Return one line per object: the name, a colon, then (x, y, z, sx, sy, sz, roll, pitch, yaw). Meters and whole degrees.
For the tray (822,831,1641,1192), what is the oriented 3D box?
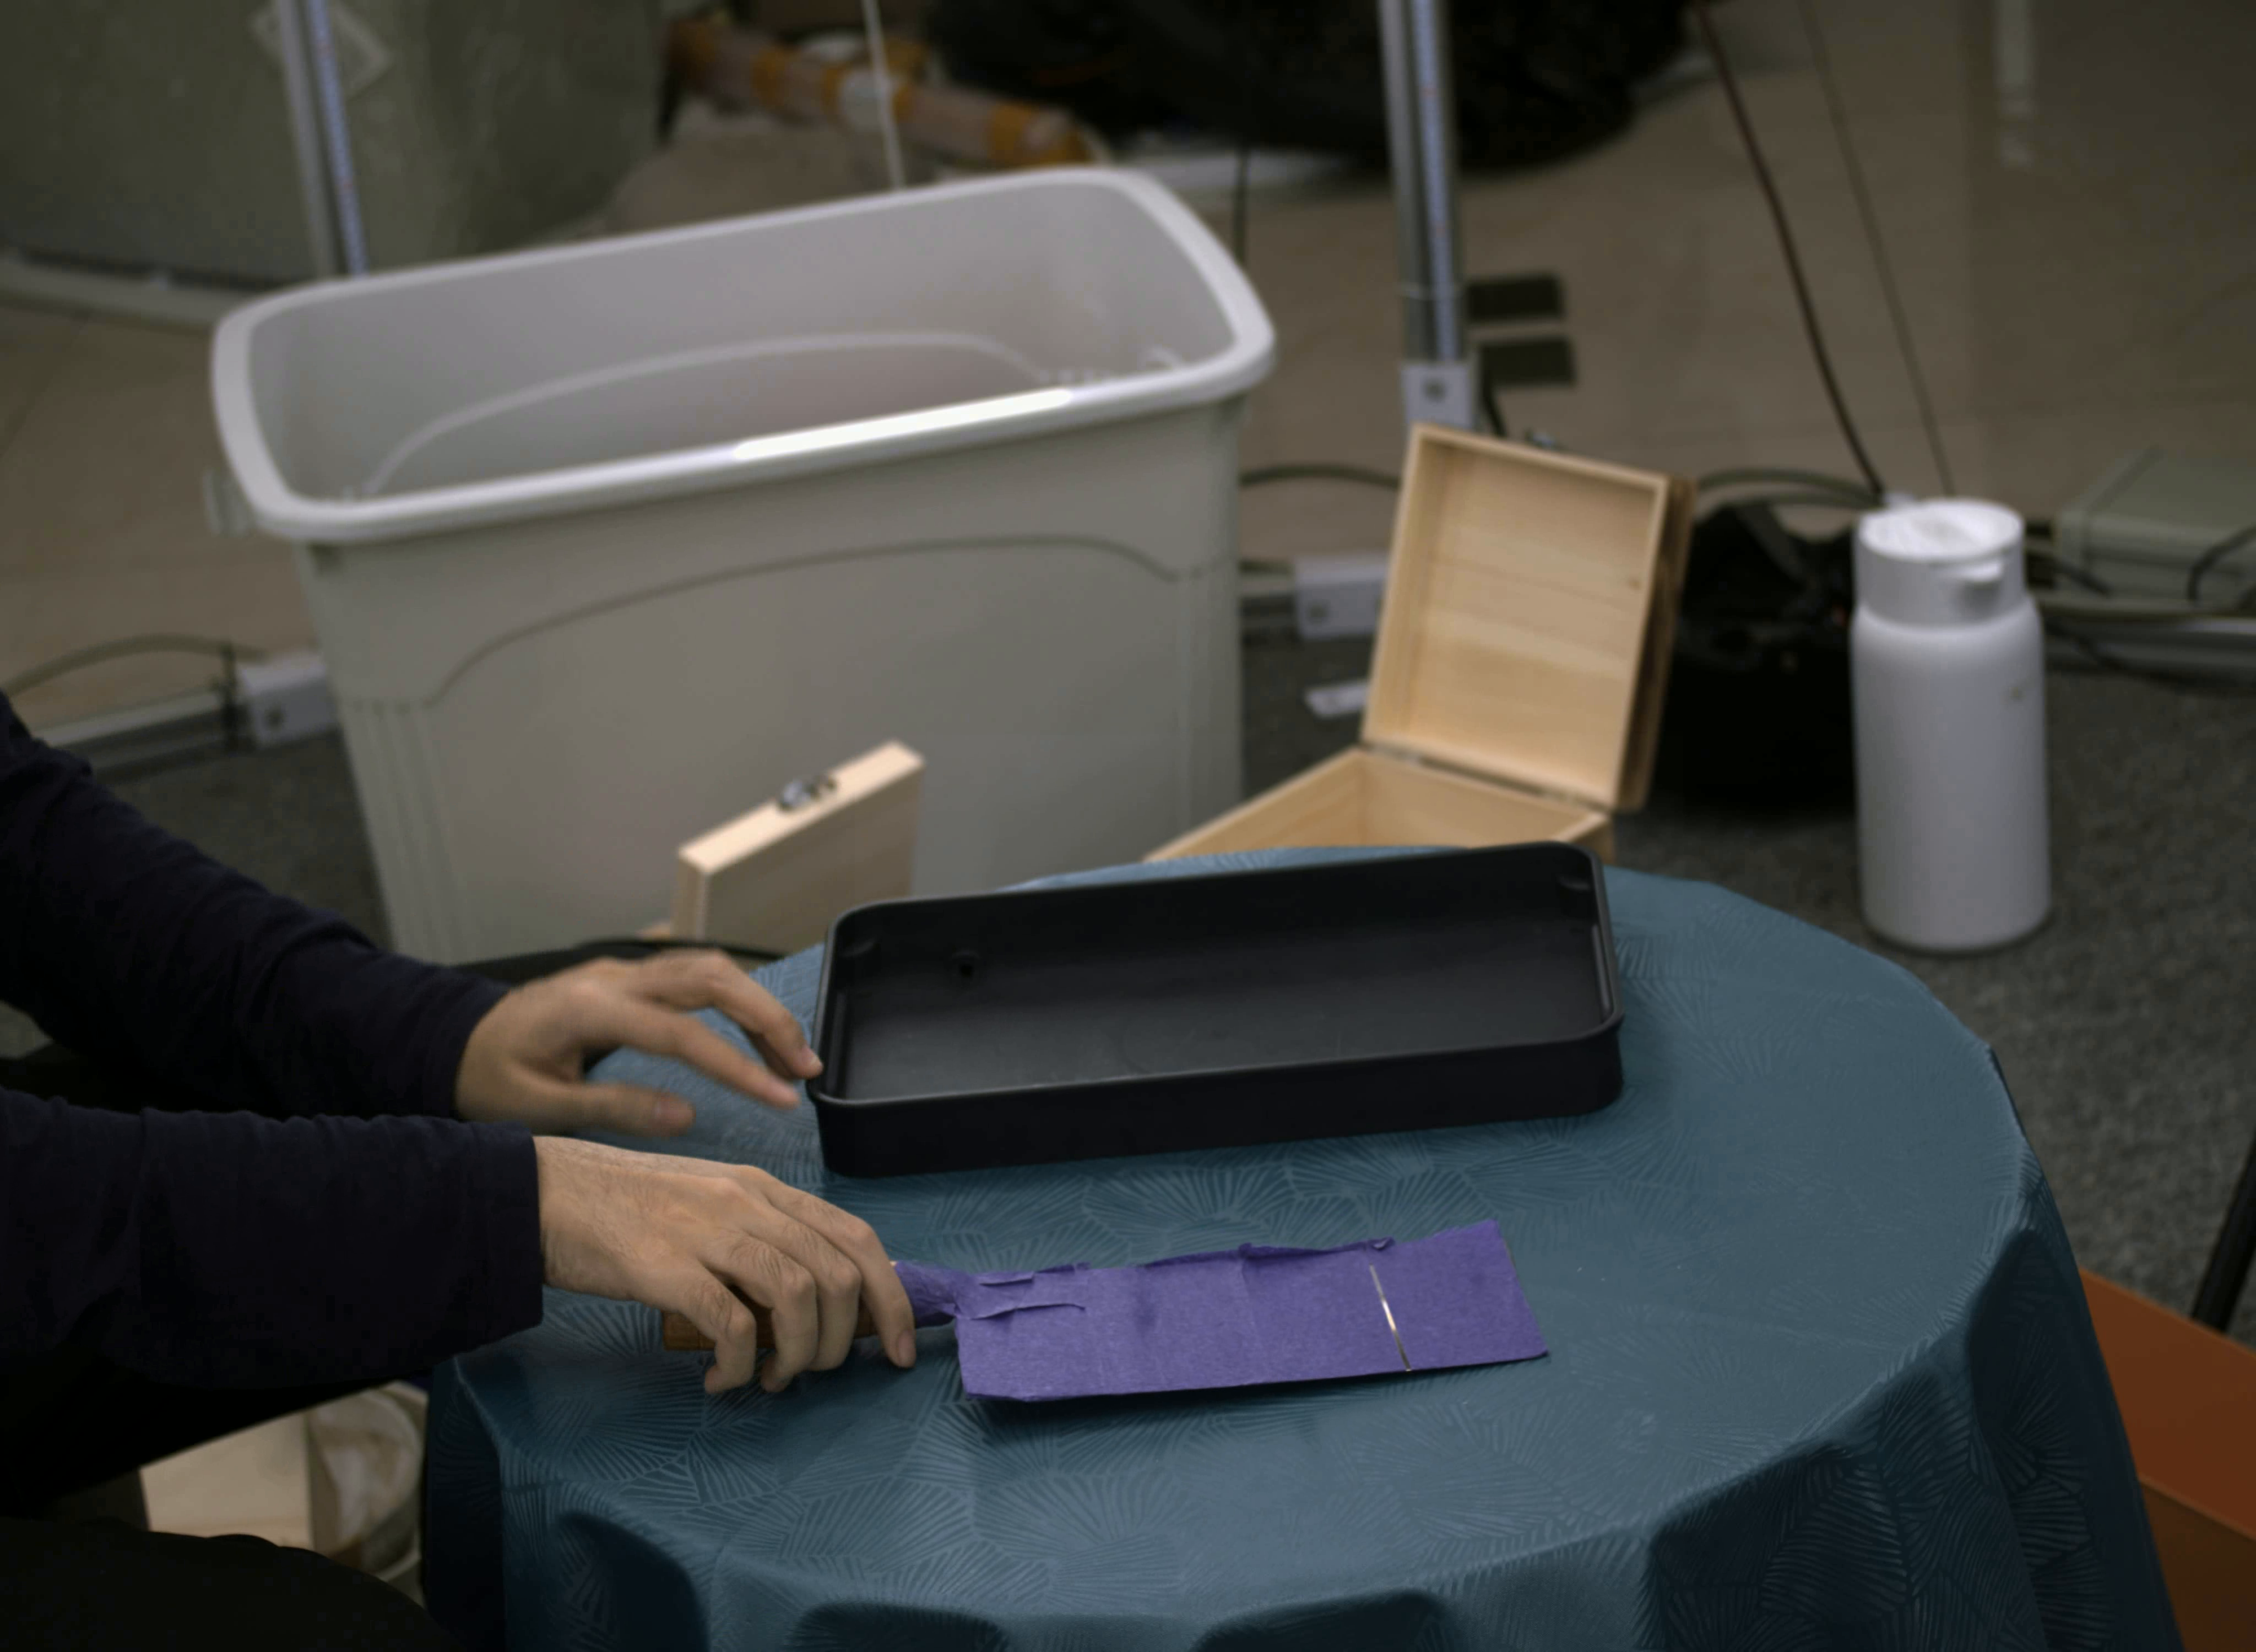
tray: (0.040, 0.072, 2.248, 0.317, 0.037, 0.181, -7, 25, 3)

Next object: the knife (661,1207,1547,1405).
knife: (-0.010, 0.176, 2.036, 0.314, 0.033, 0.102, -7, 24, -4)
